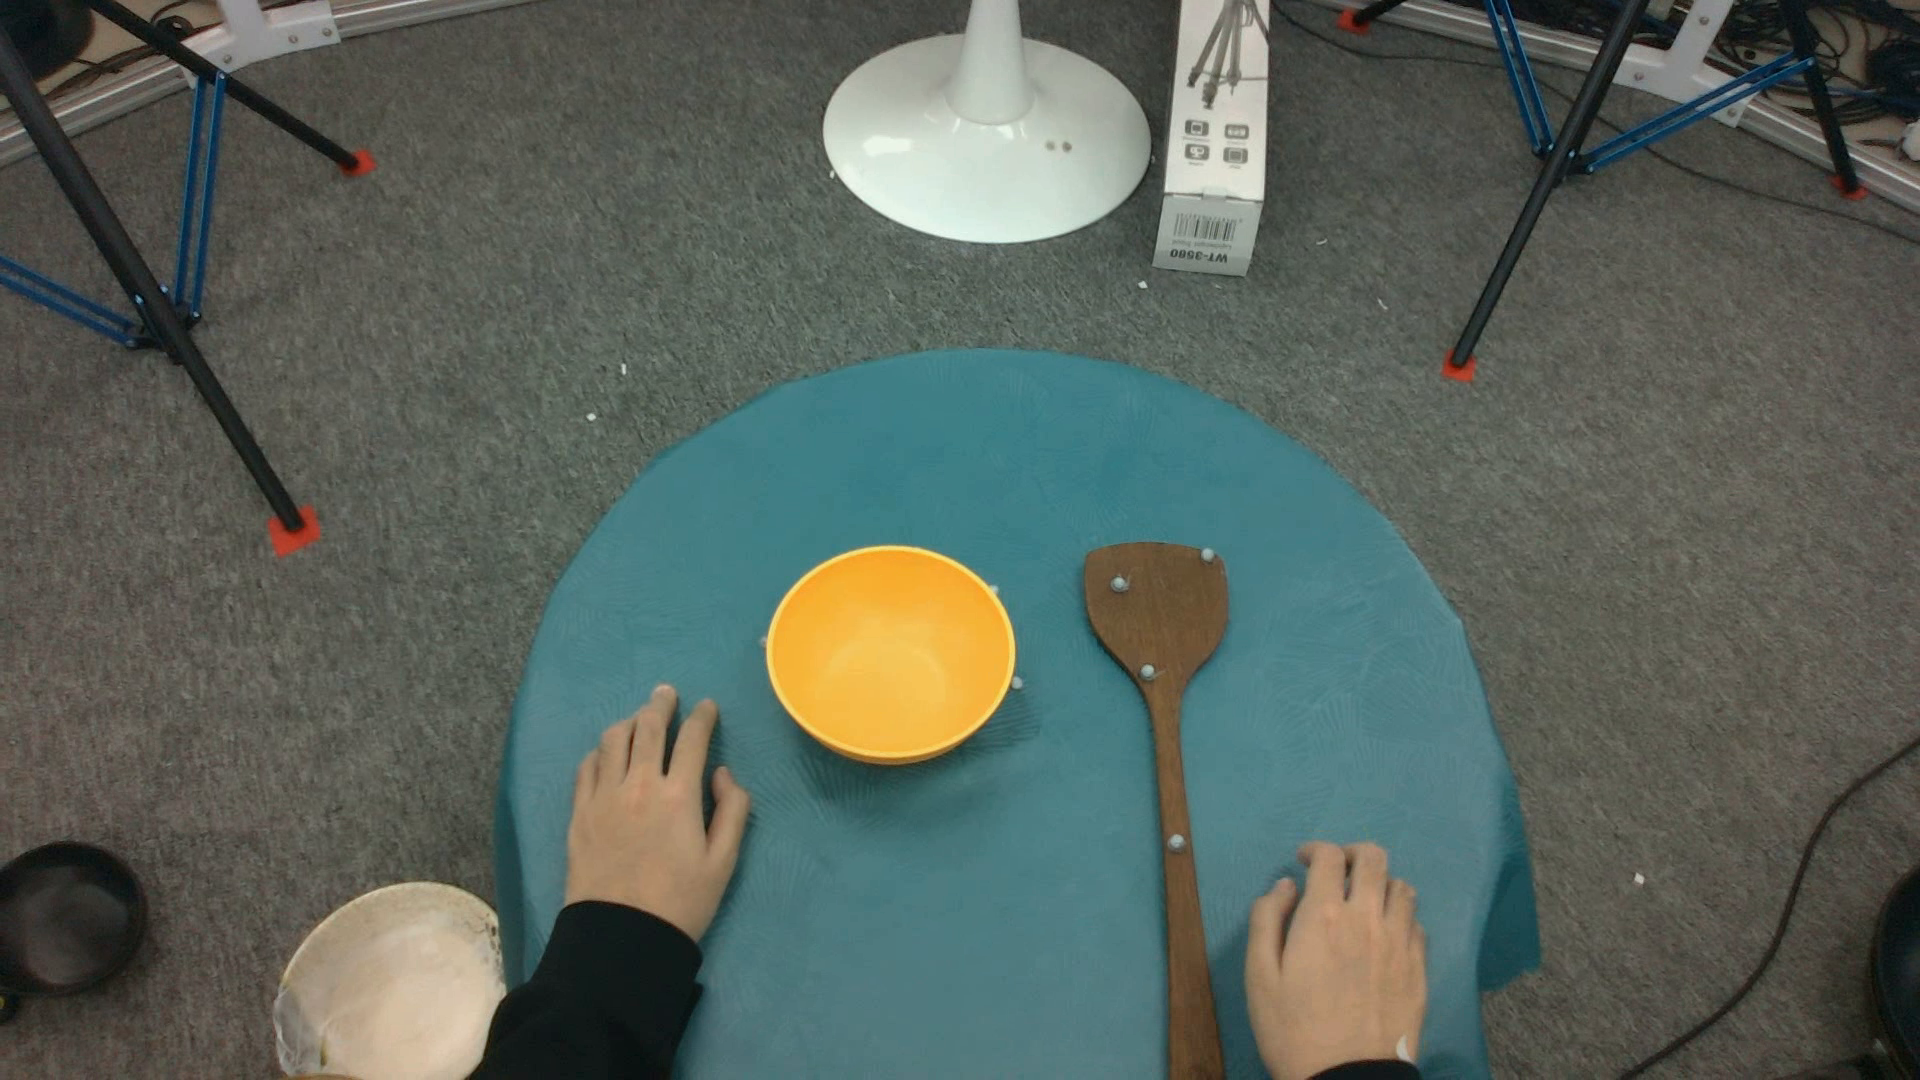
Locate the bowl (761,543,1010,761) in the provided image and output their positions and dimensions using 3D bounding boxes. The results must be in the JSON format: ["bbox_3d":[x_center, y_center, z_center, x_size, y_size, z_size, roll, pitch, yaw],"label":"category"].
[{"bbox_3d":[-0.043,0.076,0.821,0.145,0.060,0.146,0,54,0],"label":"bowl"}]

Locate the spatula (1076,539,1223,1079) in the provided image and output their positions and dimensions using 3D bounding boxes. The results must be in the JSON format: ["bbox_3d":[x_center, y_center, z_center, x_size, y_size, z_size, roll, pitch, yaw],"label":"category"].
[{"bbox_3d":[0.121,0.157,0.797,0.096,0.016,0.387,2,53,-2],"label":"spatula"}]
